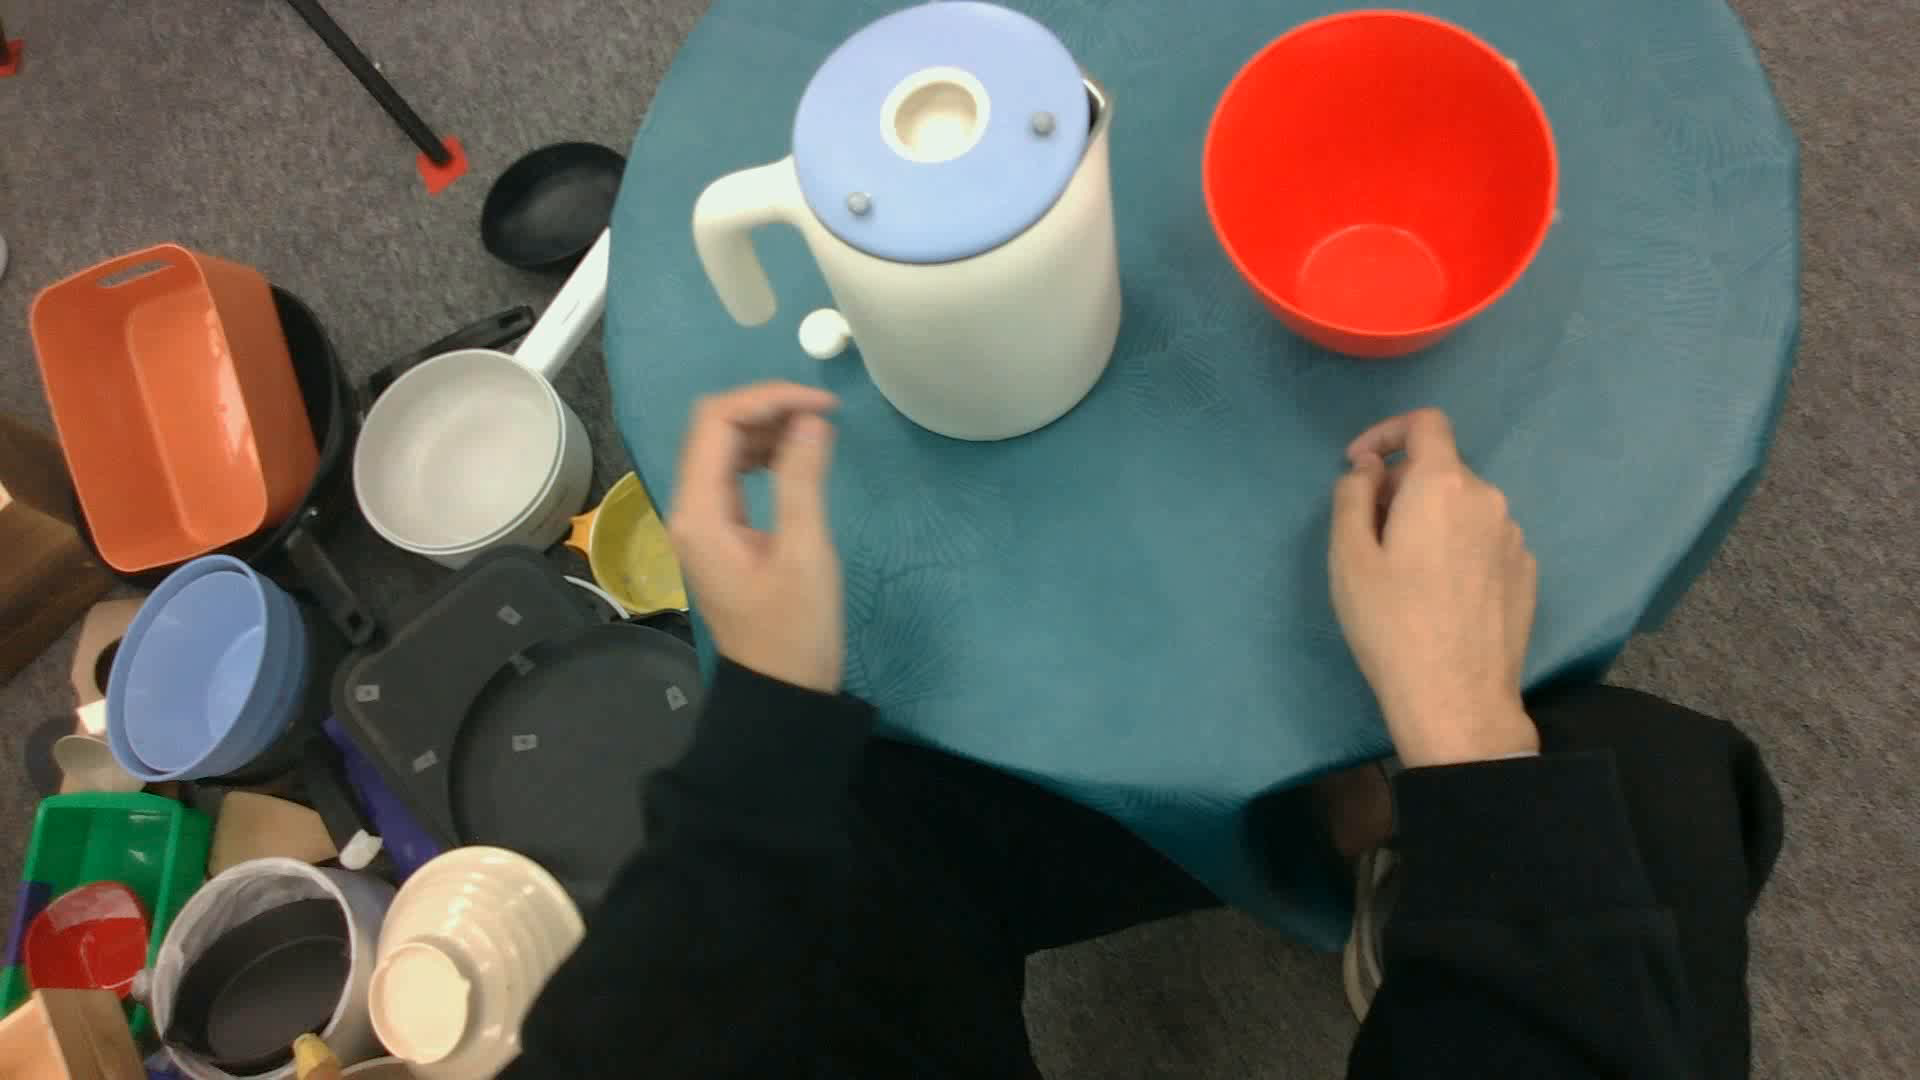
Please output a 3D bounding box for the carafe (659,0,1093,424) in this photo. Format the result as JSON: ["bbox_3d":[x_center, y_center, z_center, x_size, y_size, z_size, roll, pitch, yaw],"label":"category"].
[{"bbox_3d":[-0.035,-0.138,0.620,0.191,0.182,0.132,-10,69,8],"label":"carafe"}]

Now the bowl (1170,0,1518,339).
[{"bbox_3d":[0.171,-0.155,0.631,0.148,0.104,0.148,-3,70,8],"label":"bowl"}]
